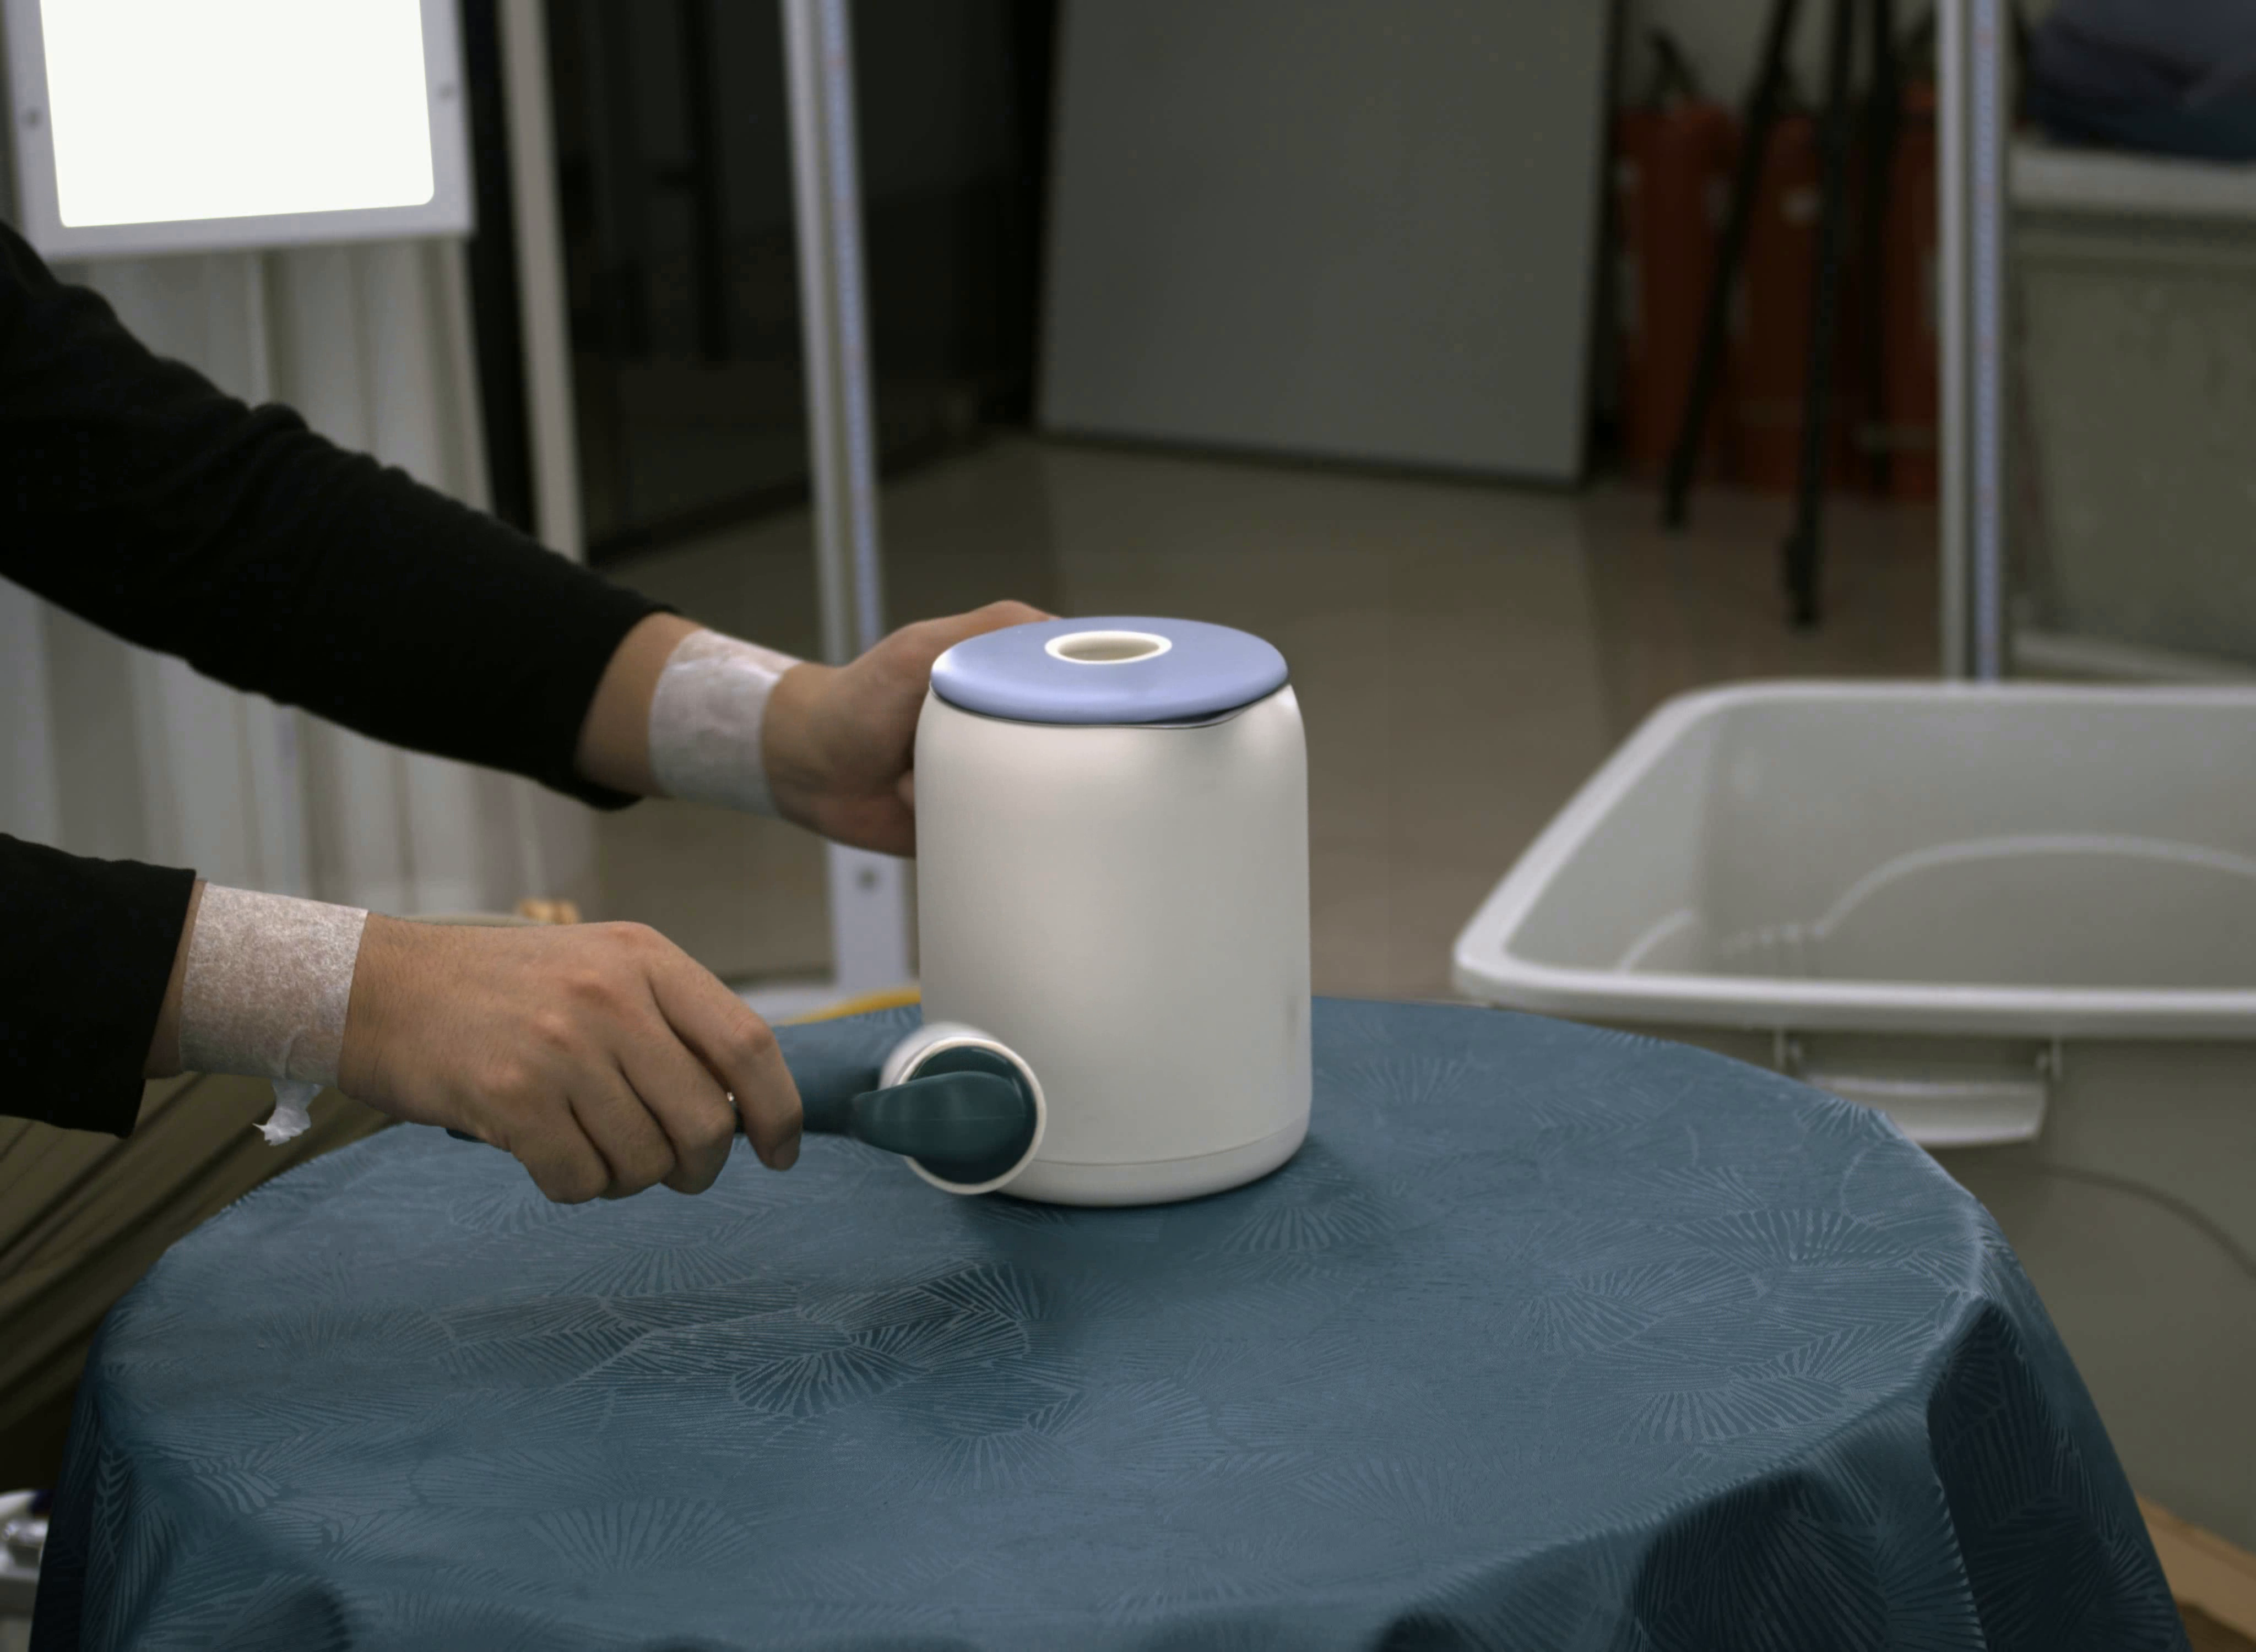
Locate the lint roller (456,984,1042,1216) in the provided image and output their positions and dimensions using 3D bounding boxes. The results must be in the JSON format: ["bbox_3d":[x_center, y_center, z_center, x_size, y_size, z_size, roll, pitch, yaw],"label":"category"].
[{"bbox_3d":[-0.118,0.085,1.651,0.177,0.049,0.135,-6,6,-4],"label":"lint roller"}]

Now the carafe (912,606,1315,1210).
[{"bbox_3d":[-0.016,0.021,1.807,0.129,0.184,0.193,-9,14,-26],"label":"carafe"}]
